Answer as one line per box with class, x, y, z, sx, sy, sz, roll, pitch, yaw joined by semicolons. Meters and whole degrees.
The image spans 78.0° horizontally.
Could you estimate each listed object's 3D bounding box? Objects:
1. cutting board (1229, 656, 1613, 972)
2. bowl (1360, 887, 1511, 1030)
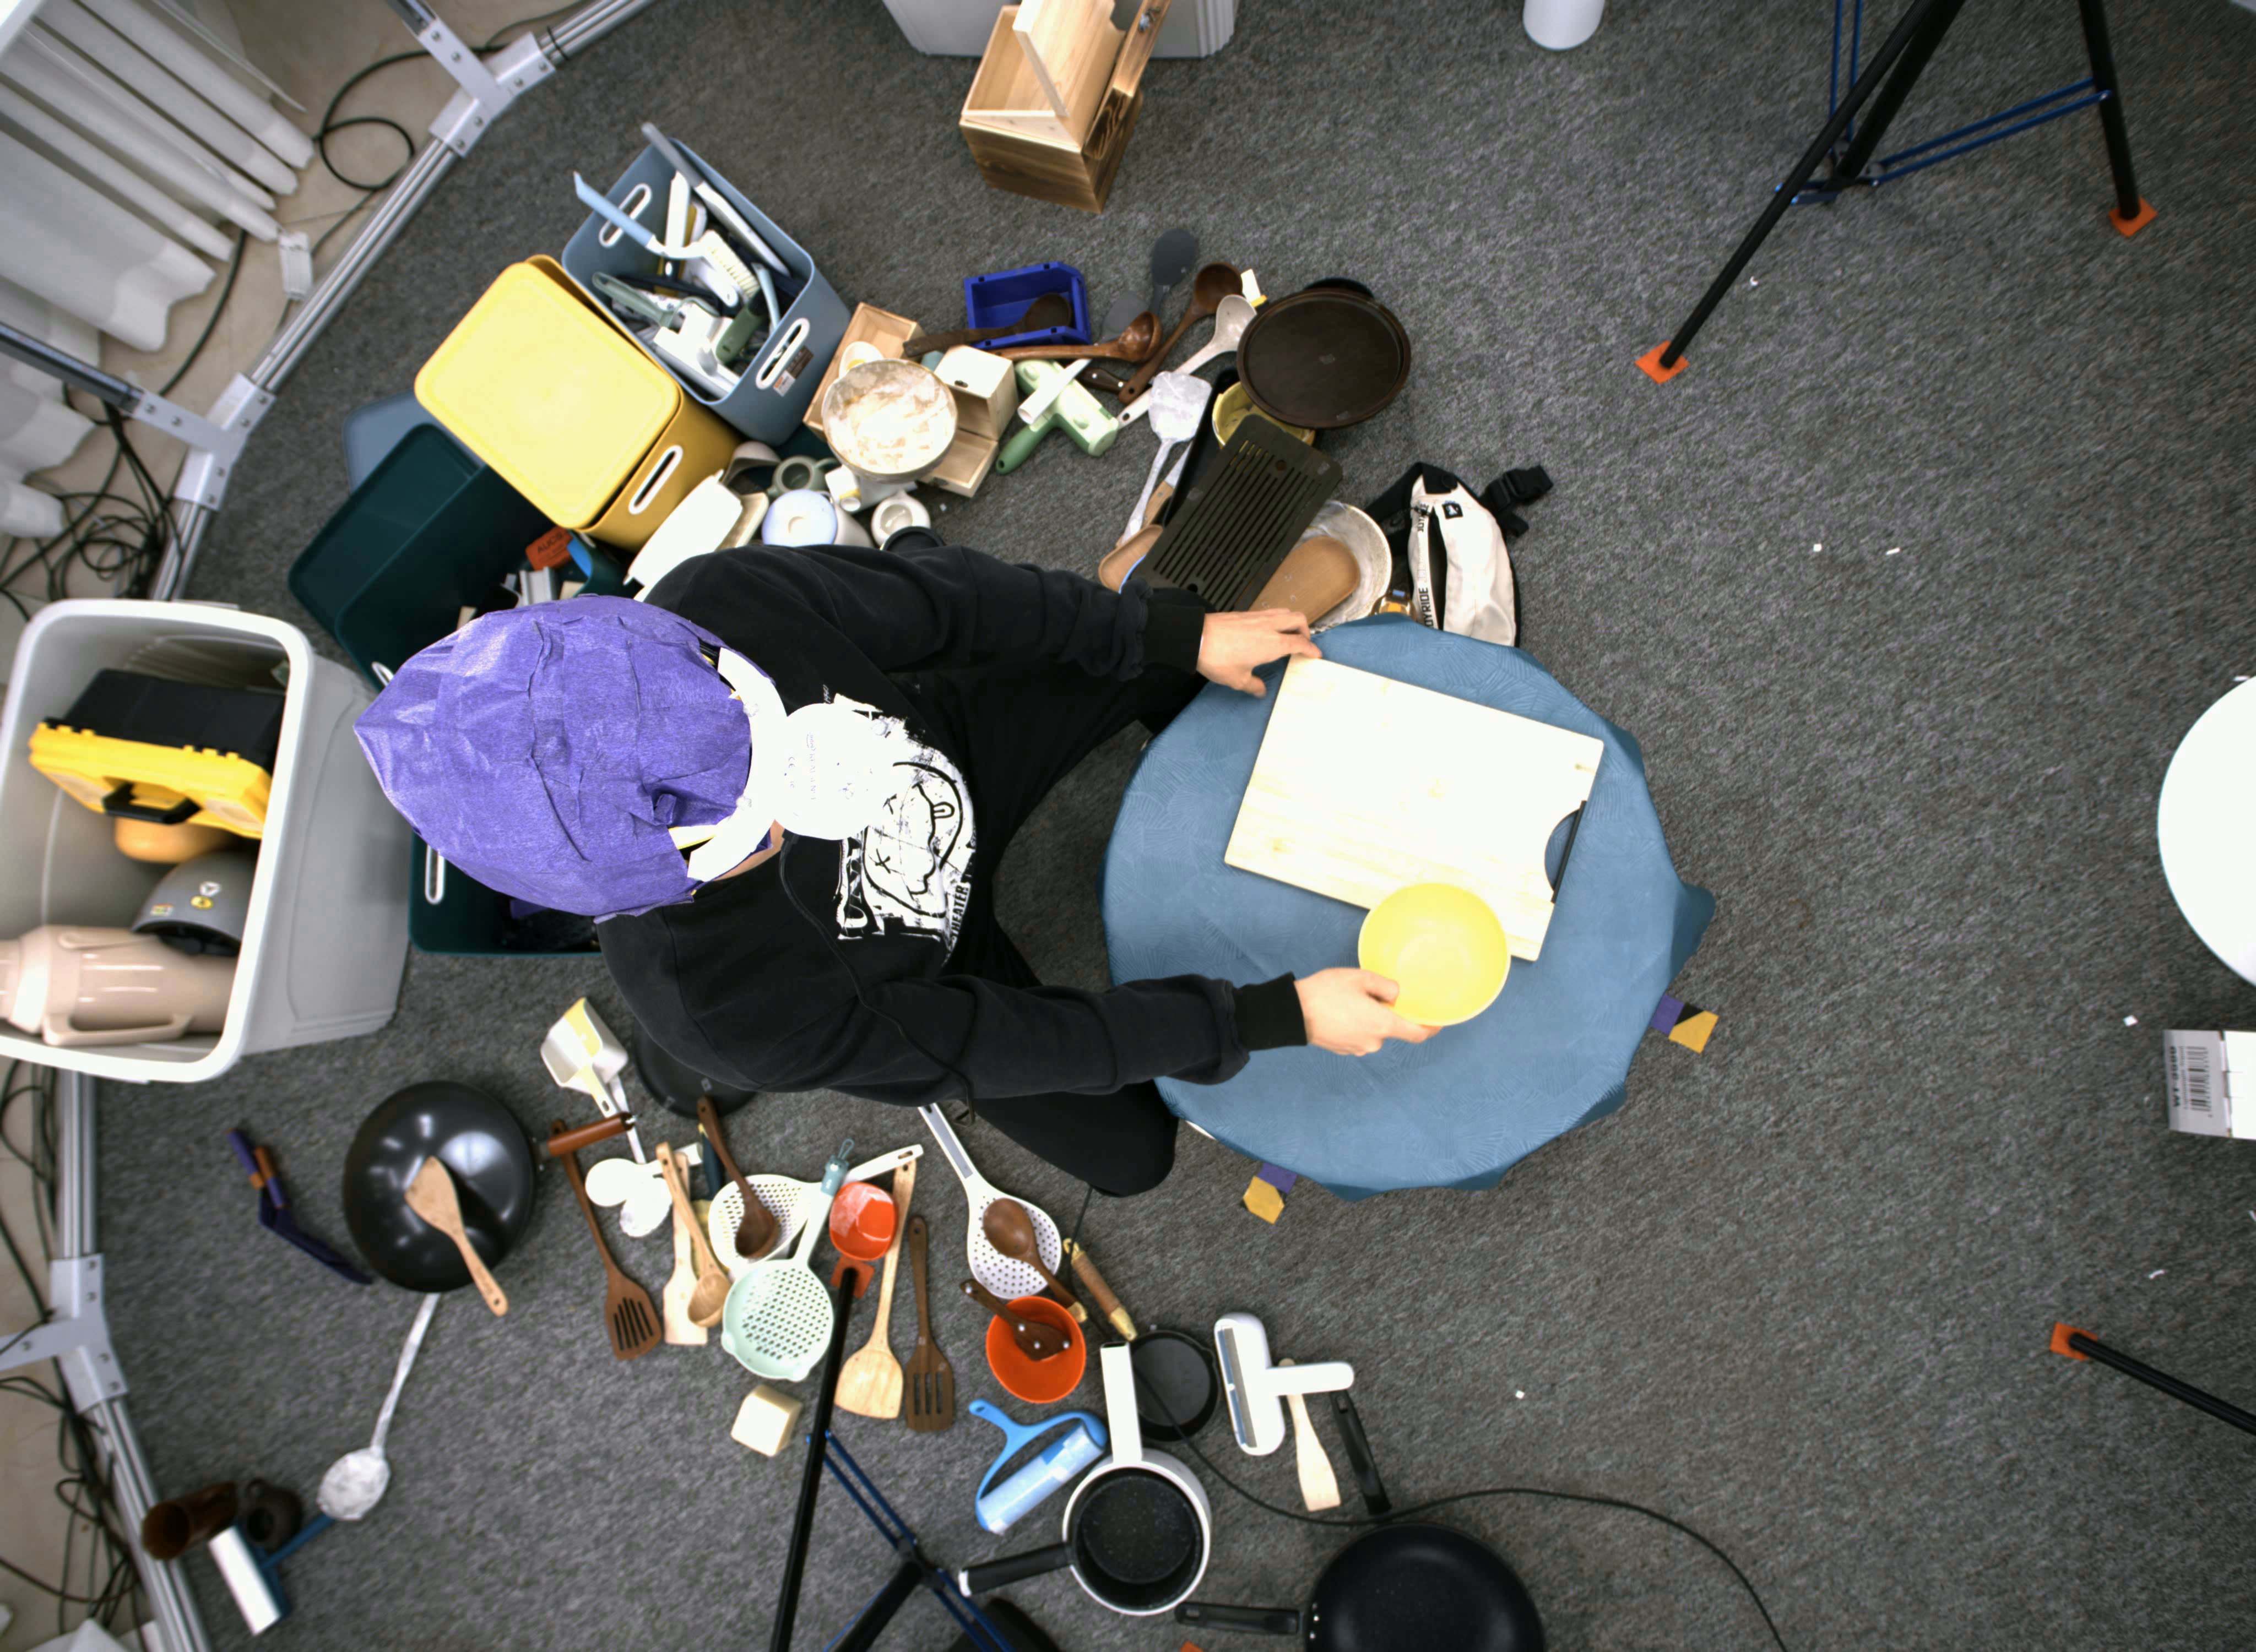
cutting board;0.307;-0.019;1.456;0.349;0.023;0.250;17;90;11
bowl;0.300;0.135;1.354;0.146;0.061;0.143;-3;70;8
